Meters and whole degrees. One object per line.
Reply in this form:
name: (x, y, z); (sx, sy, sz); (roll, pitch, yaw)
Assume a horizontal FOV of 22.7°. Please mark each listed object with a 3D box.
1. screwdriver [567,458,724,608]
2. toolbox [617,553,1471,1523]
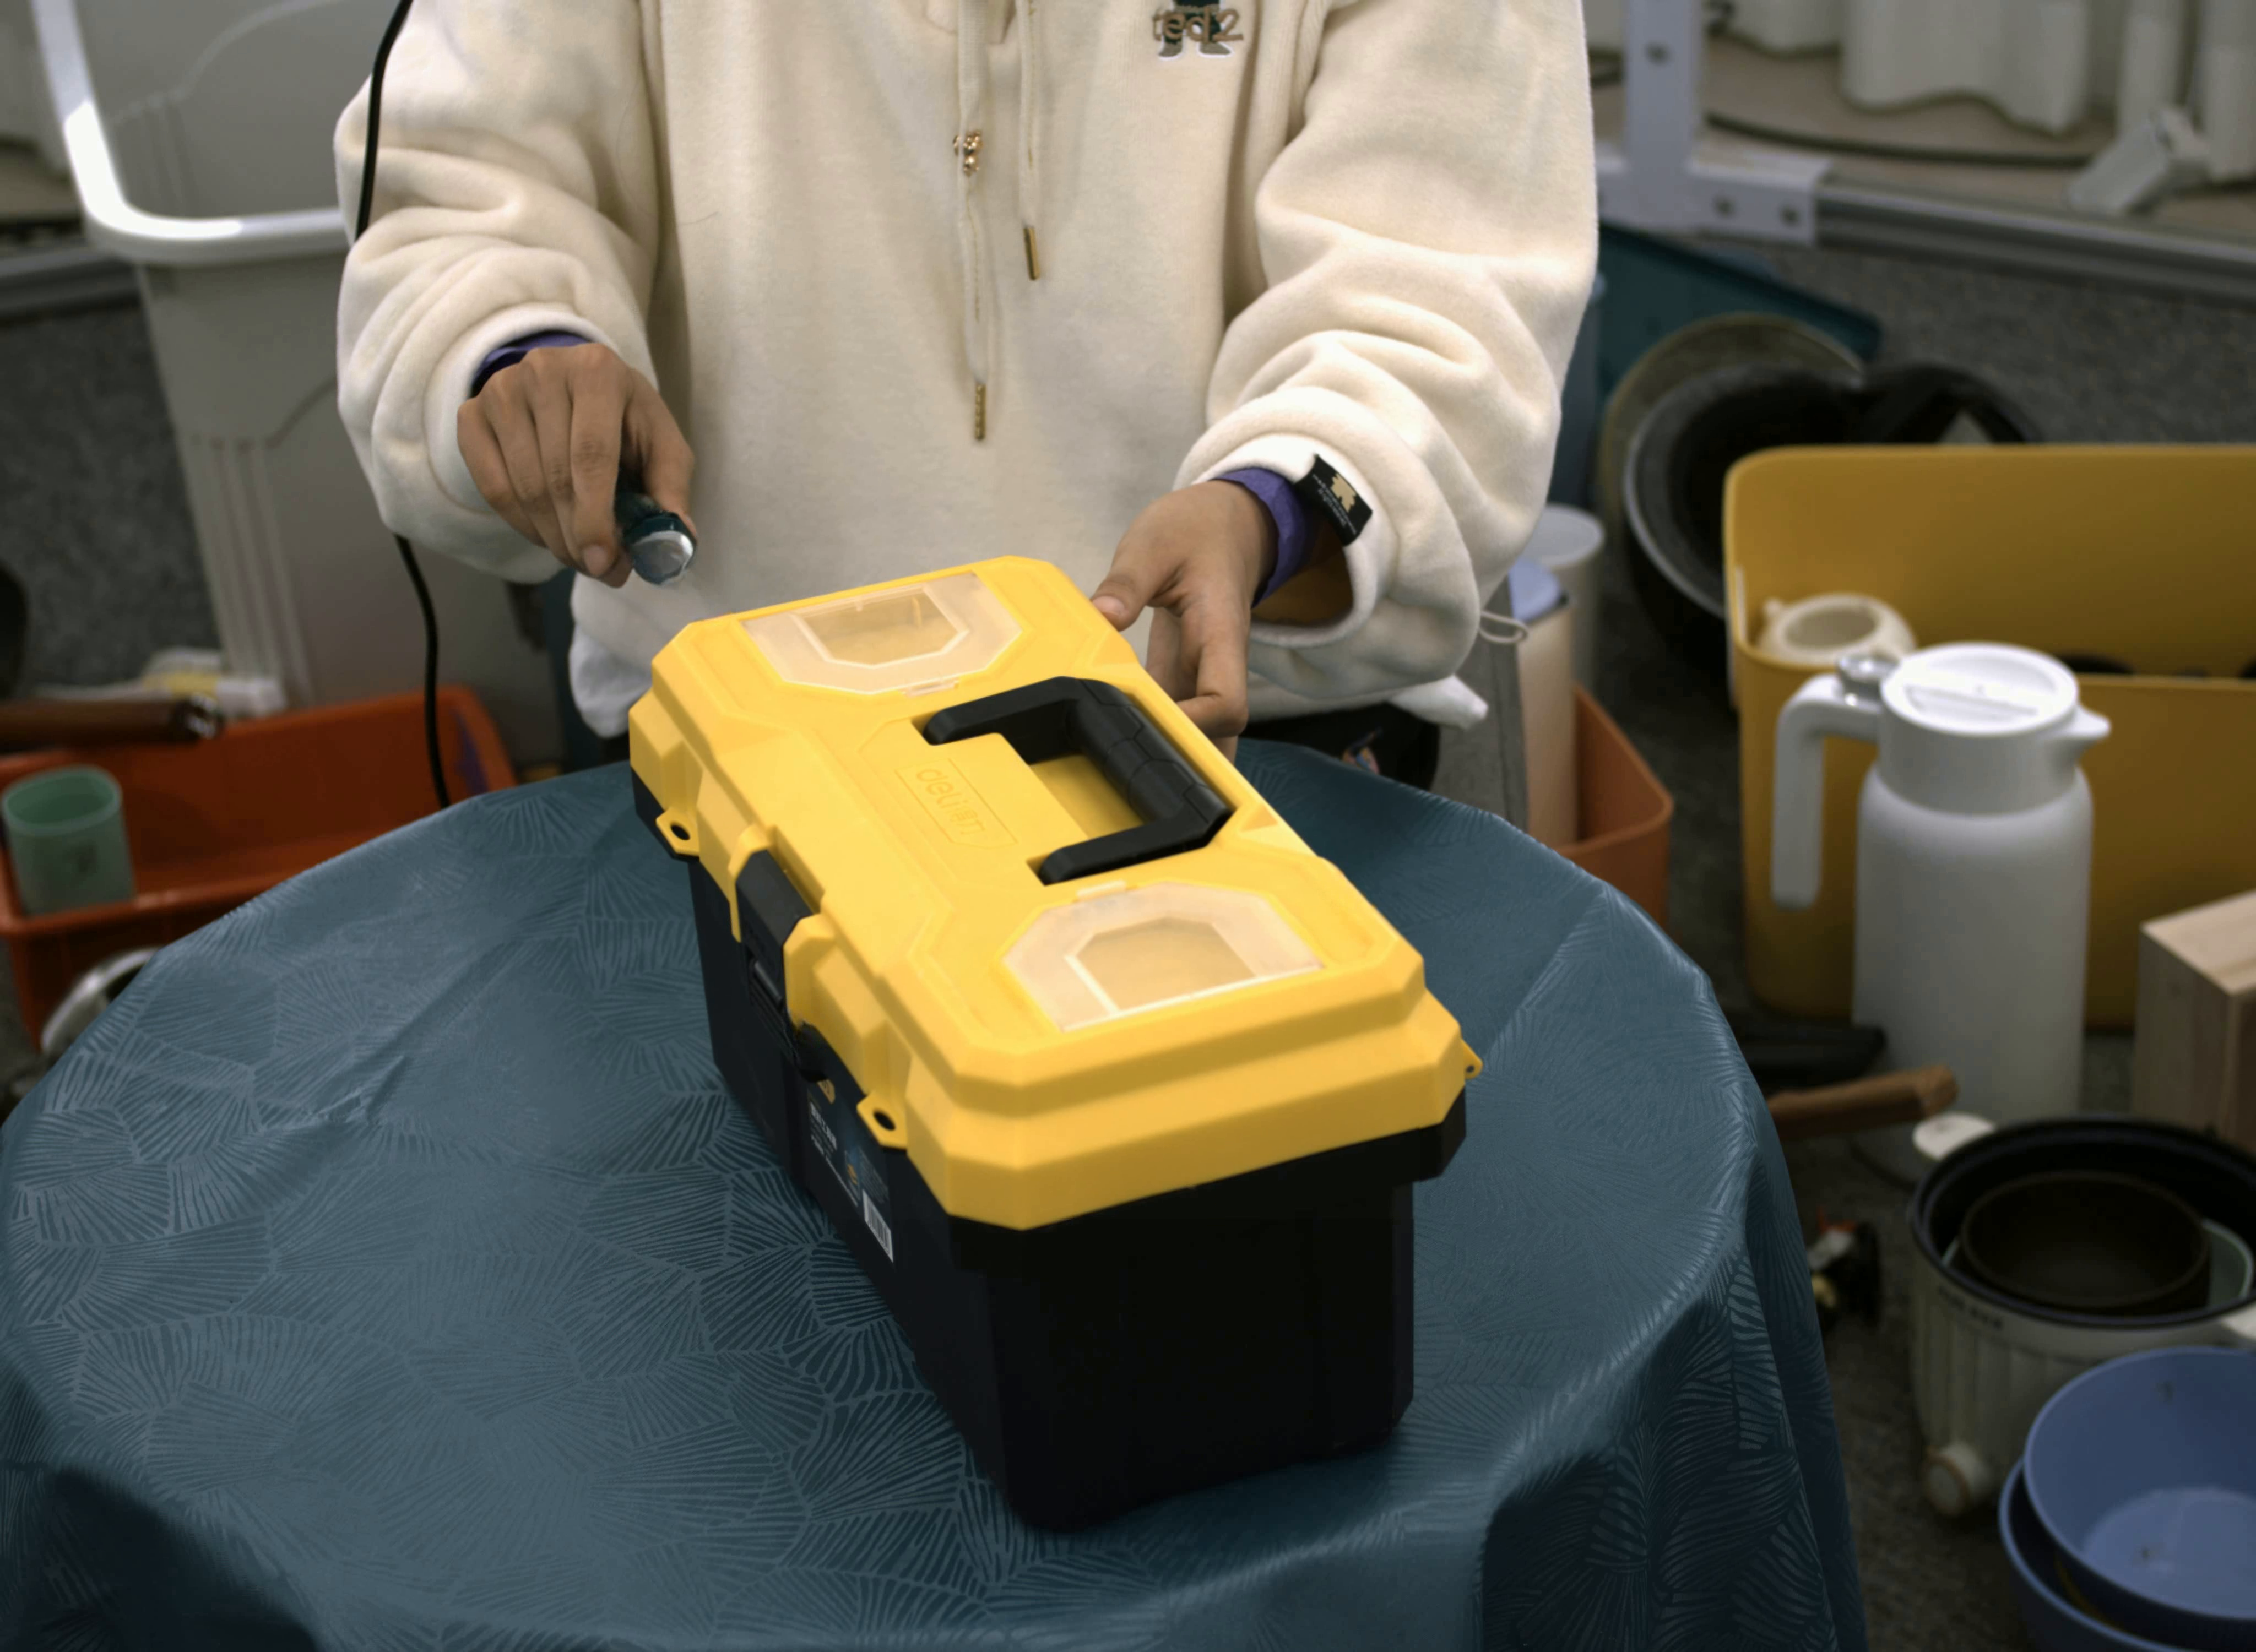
screwdriver: (-0.167, -0.099, 1.990); (0.034, 0.033, 0.190); (-11, 18, -15)
toolbox: (-0.032, 0.061, 1.796); (0.182, 0.171, 0.354); (-12, 28, -18)
